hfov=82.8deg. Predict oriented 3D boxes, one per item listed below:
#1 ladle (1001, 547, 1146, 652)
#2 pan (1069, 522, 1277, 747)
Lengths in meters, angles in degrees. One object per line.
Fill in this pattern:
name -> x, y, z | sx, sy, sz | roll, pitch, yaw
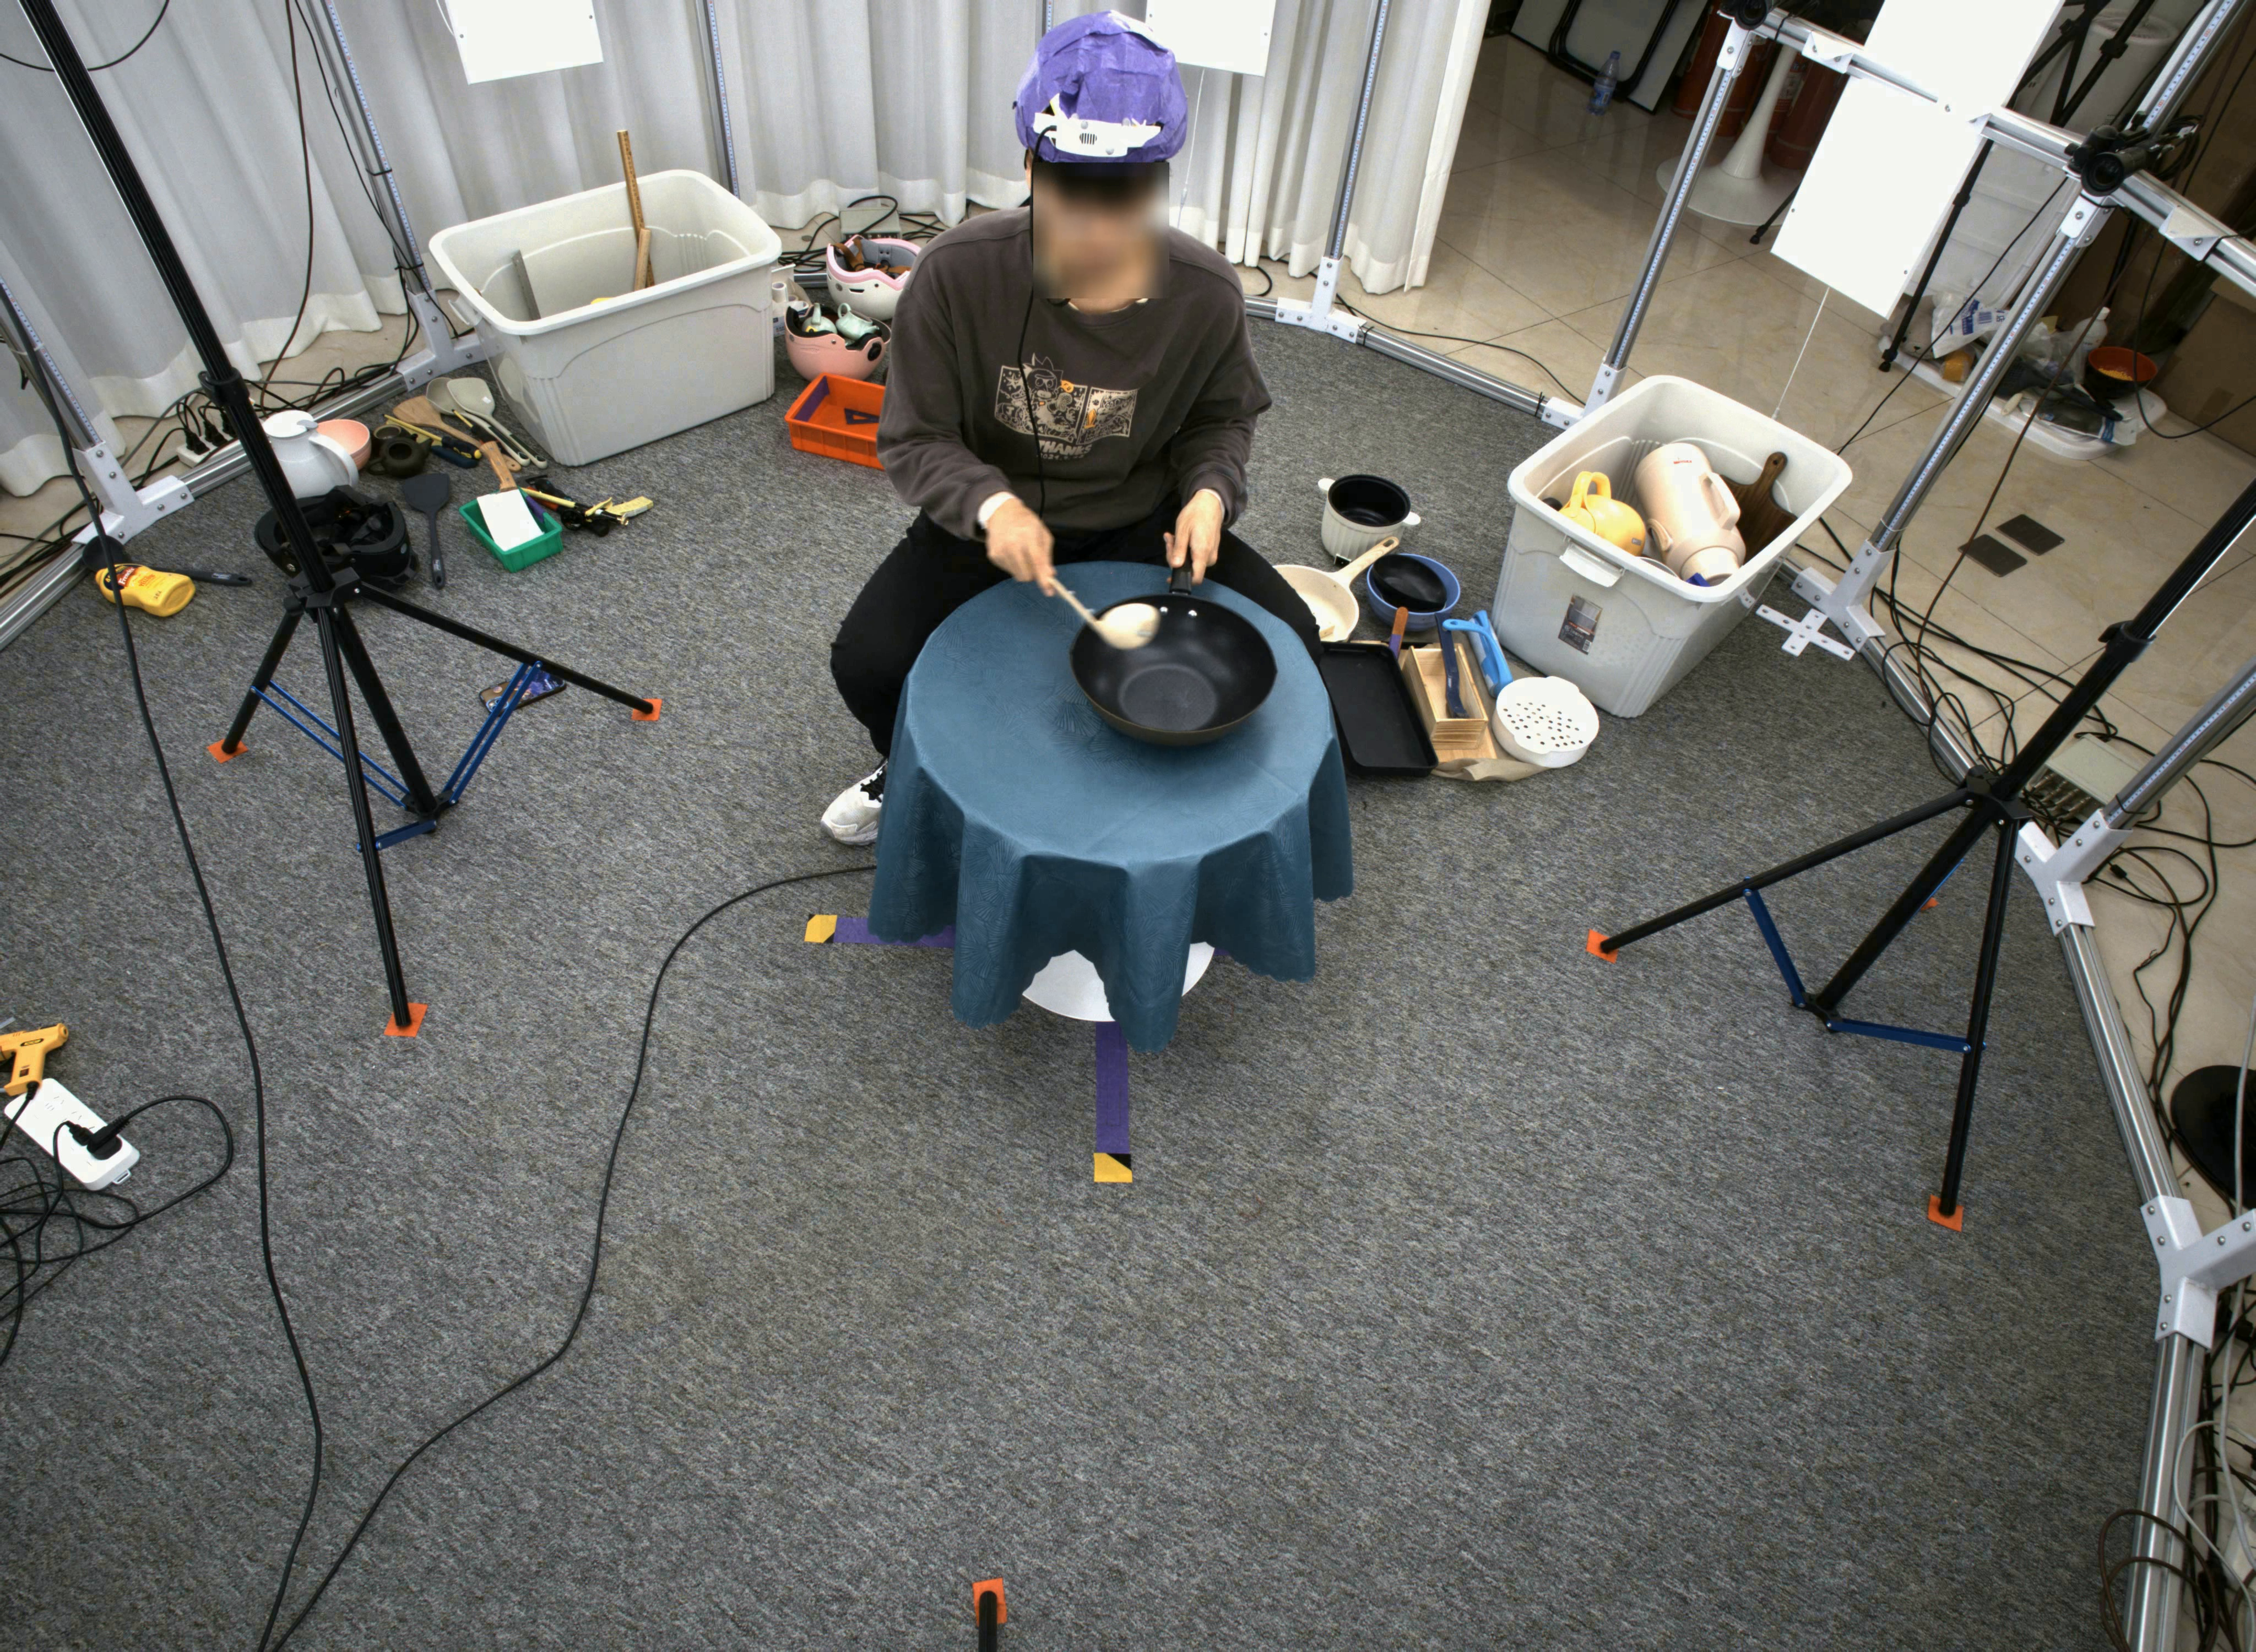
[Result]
ladle -> -0.072, -0.324, 1.712 | 0.073, 0.071, 0.259 | -42, 60, -1
pan -> 0.069, -0.272, 1.854 | 0.288, 0.085, 0.474 | 6, 48, 2
